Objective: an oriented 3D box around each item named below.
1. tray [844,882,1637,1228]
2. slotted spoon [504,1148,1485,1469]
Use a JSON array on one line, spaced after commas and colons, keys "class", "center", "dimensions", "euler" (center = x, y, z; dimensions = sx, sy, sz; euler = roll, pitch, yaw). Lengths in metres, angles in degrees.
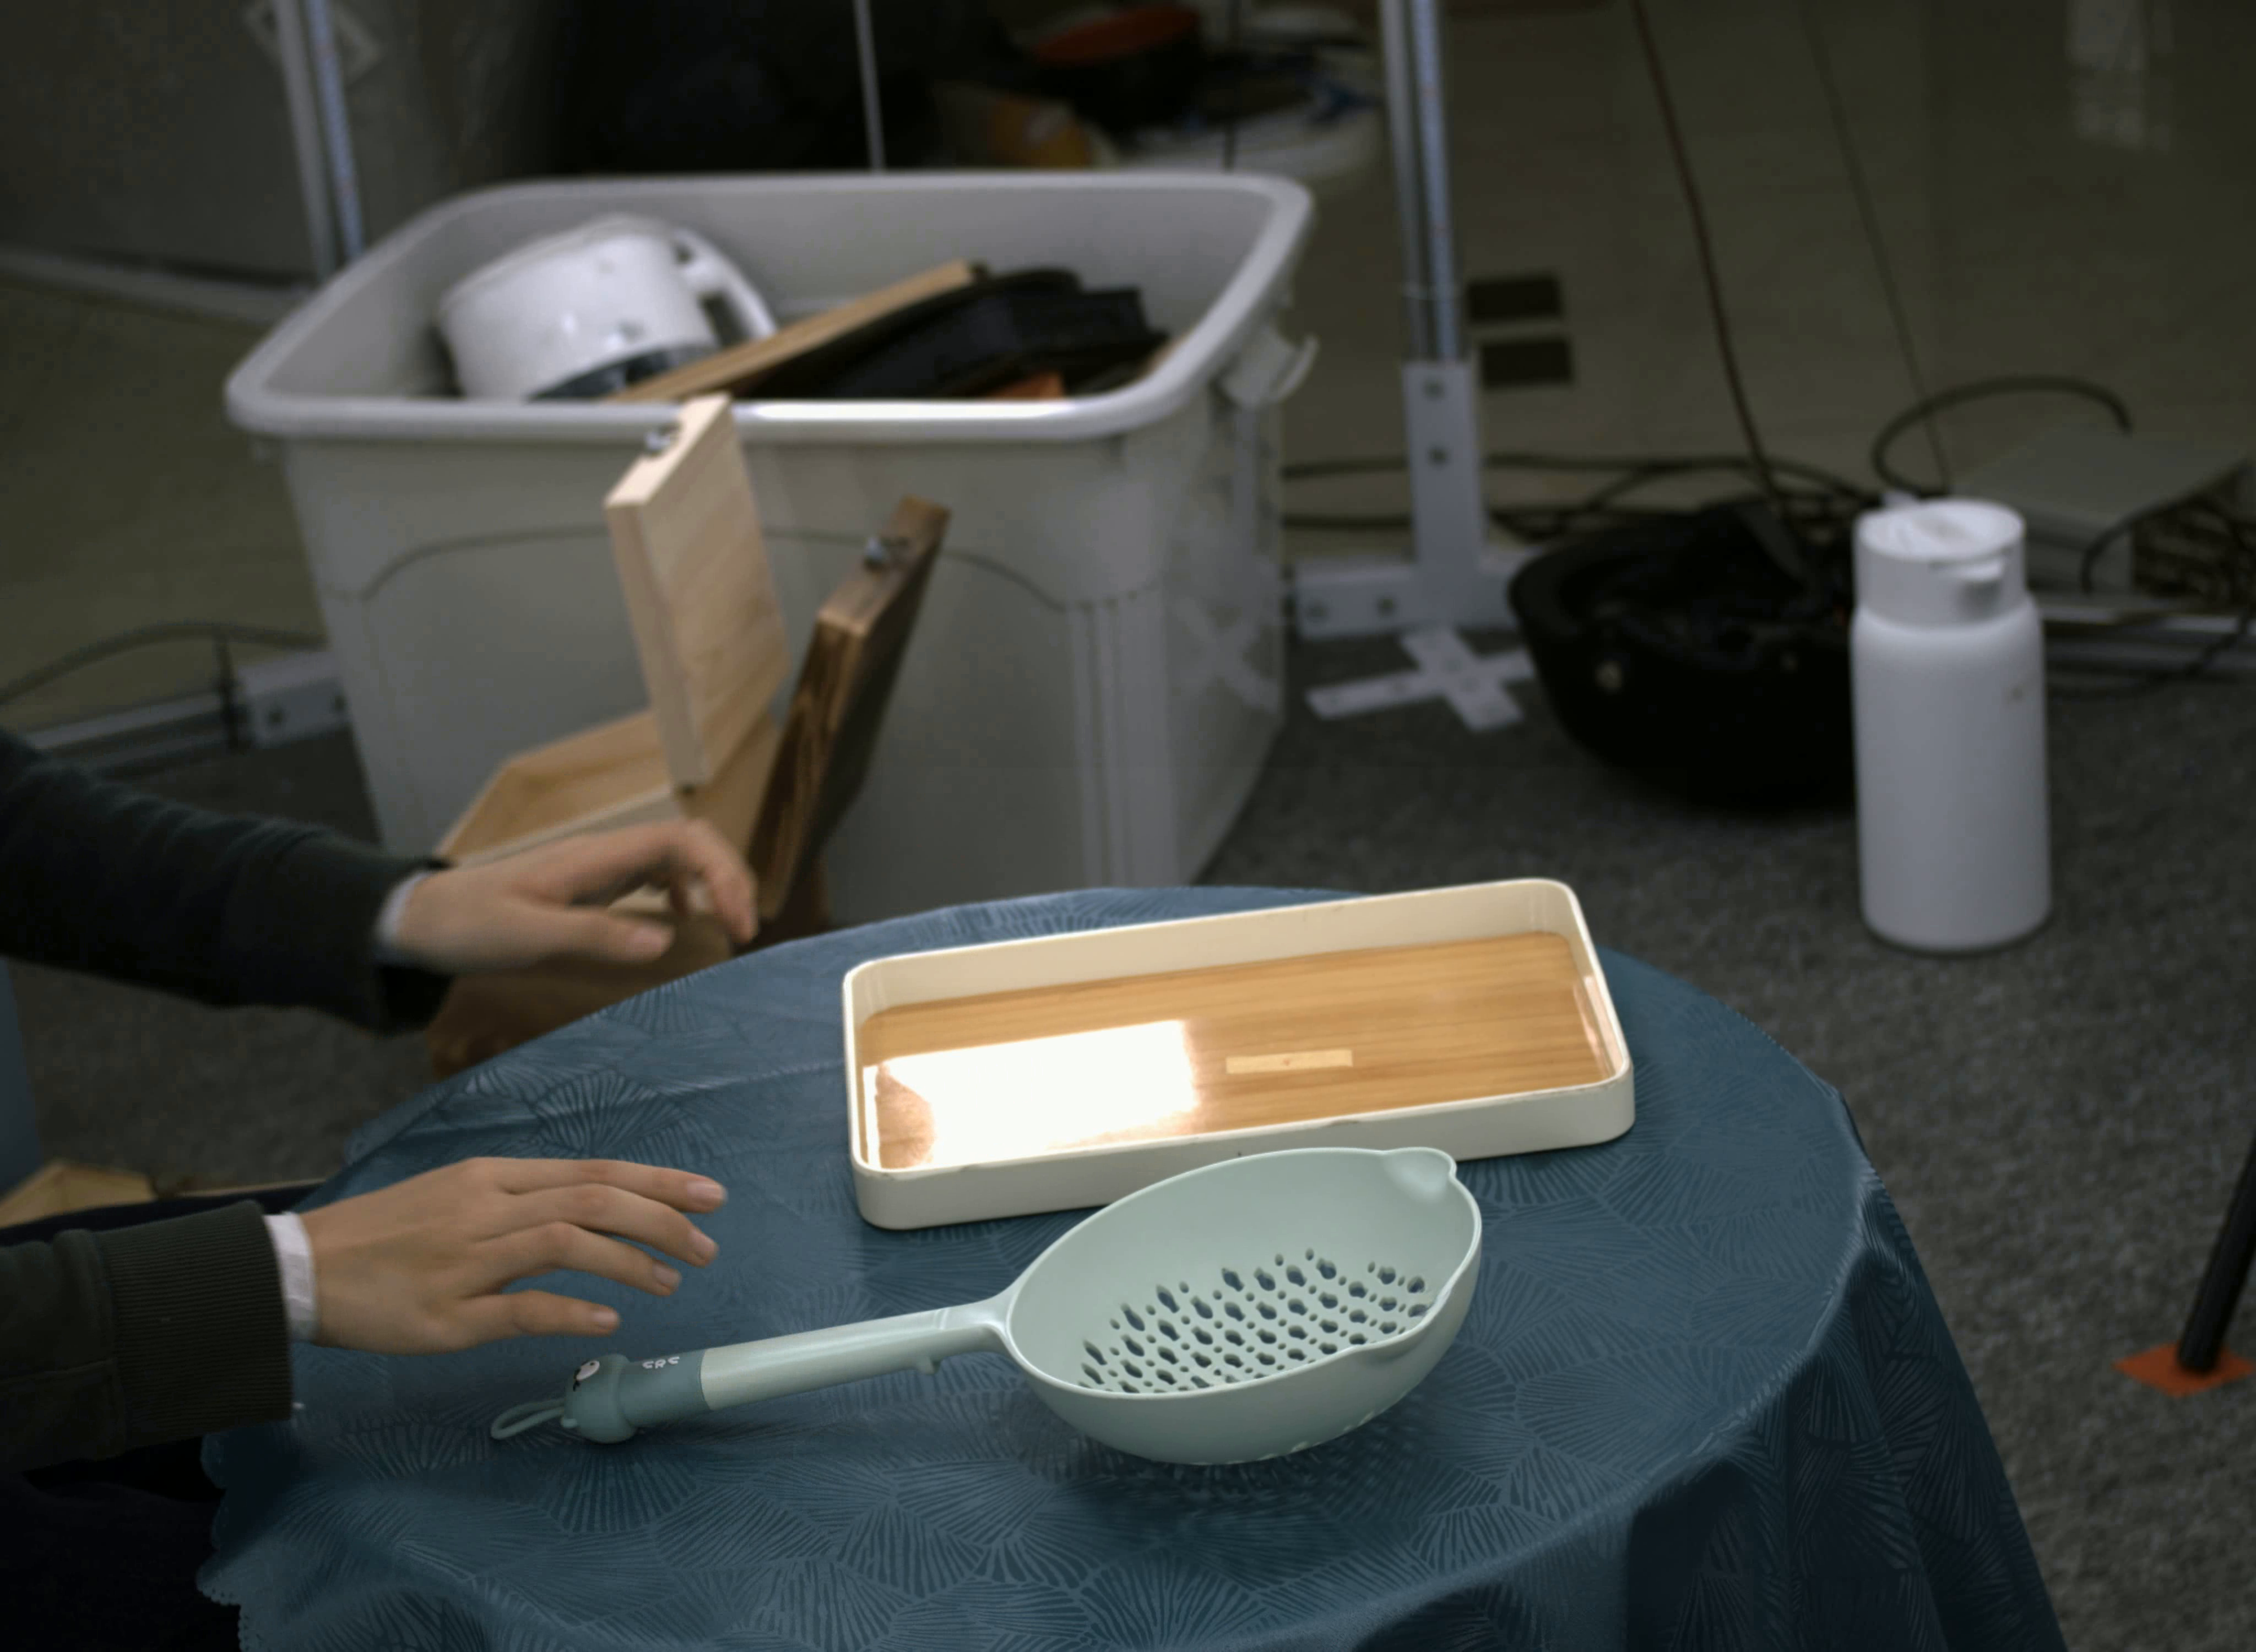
[{"class": "tray", "center": [0.040, 0.088, 2.222], "dimensions": [0.300, 0.028, 0.189], "euler": [-6, 25, -1]}, {"class": "slotted spoon", "center": [-0.051, 0.182, 1.996], "dimensions": [0.358, 0.076, 0.167], "euler": [-2, 24, 9]}]
